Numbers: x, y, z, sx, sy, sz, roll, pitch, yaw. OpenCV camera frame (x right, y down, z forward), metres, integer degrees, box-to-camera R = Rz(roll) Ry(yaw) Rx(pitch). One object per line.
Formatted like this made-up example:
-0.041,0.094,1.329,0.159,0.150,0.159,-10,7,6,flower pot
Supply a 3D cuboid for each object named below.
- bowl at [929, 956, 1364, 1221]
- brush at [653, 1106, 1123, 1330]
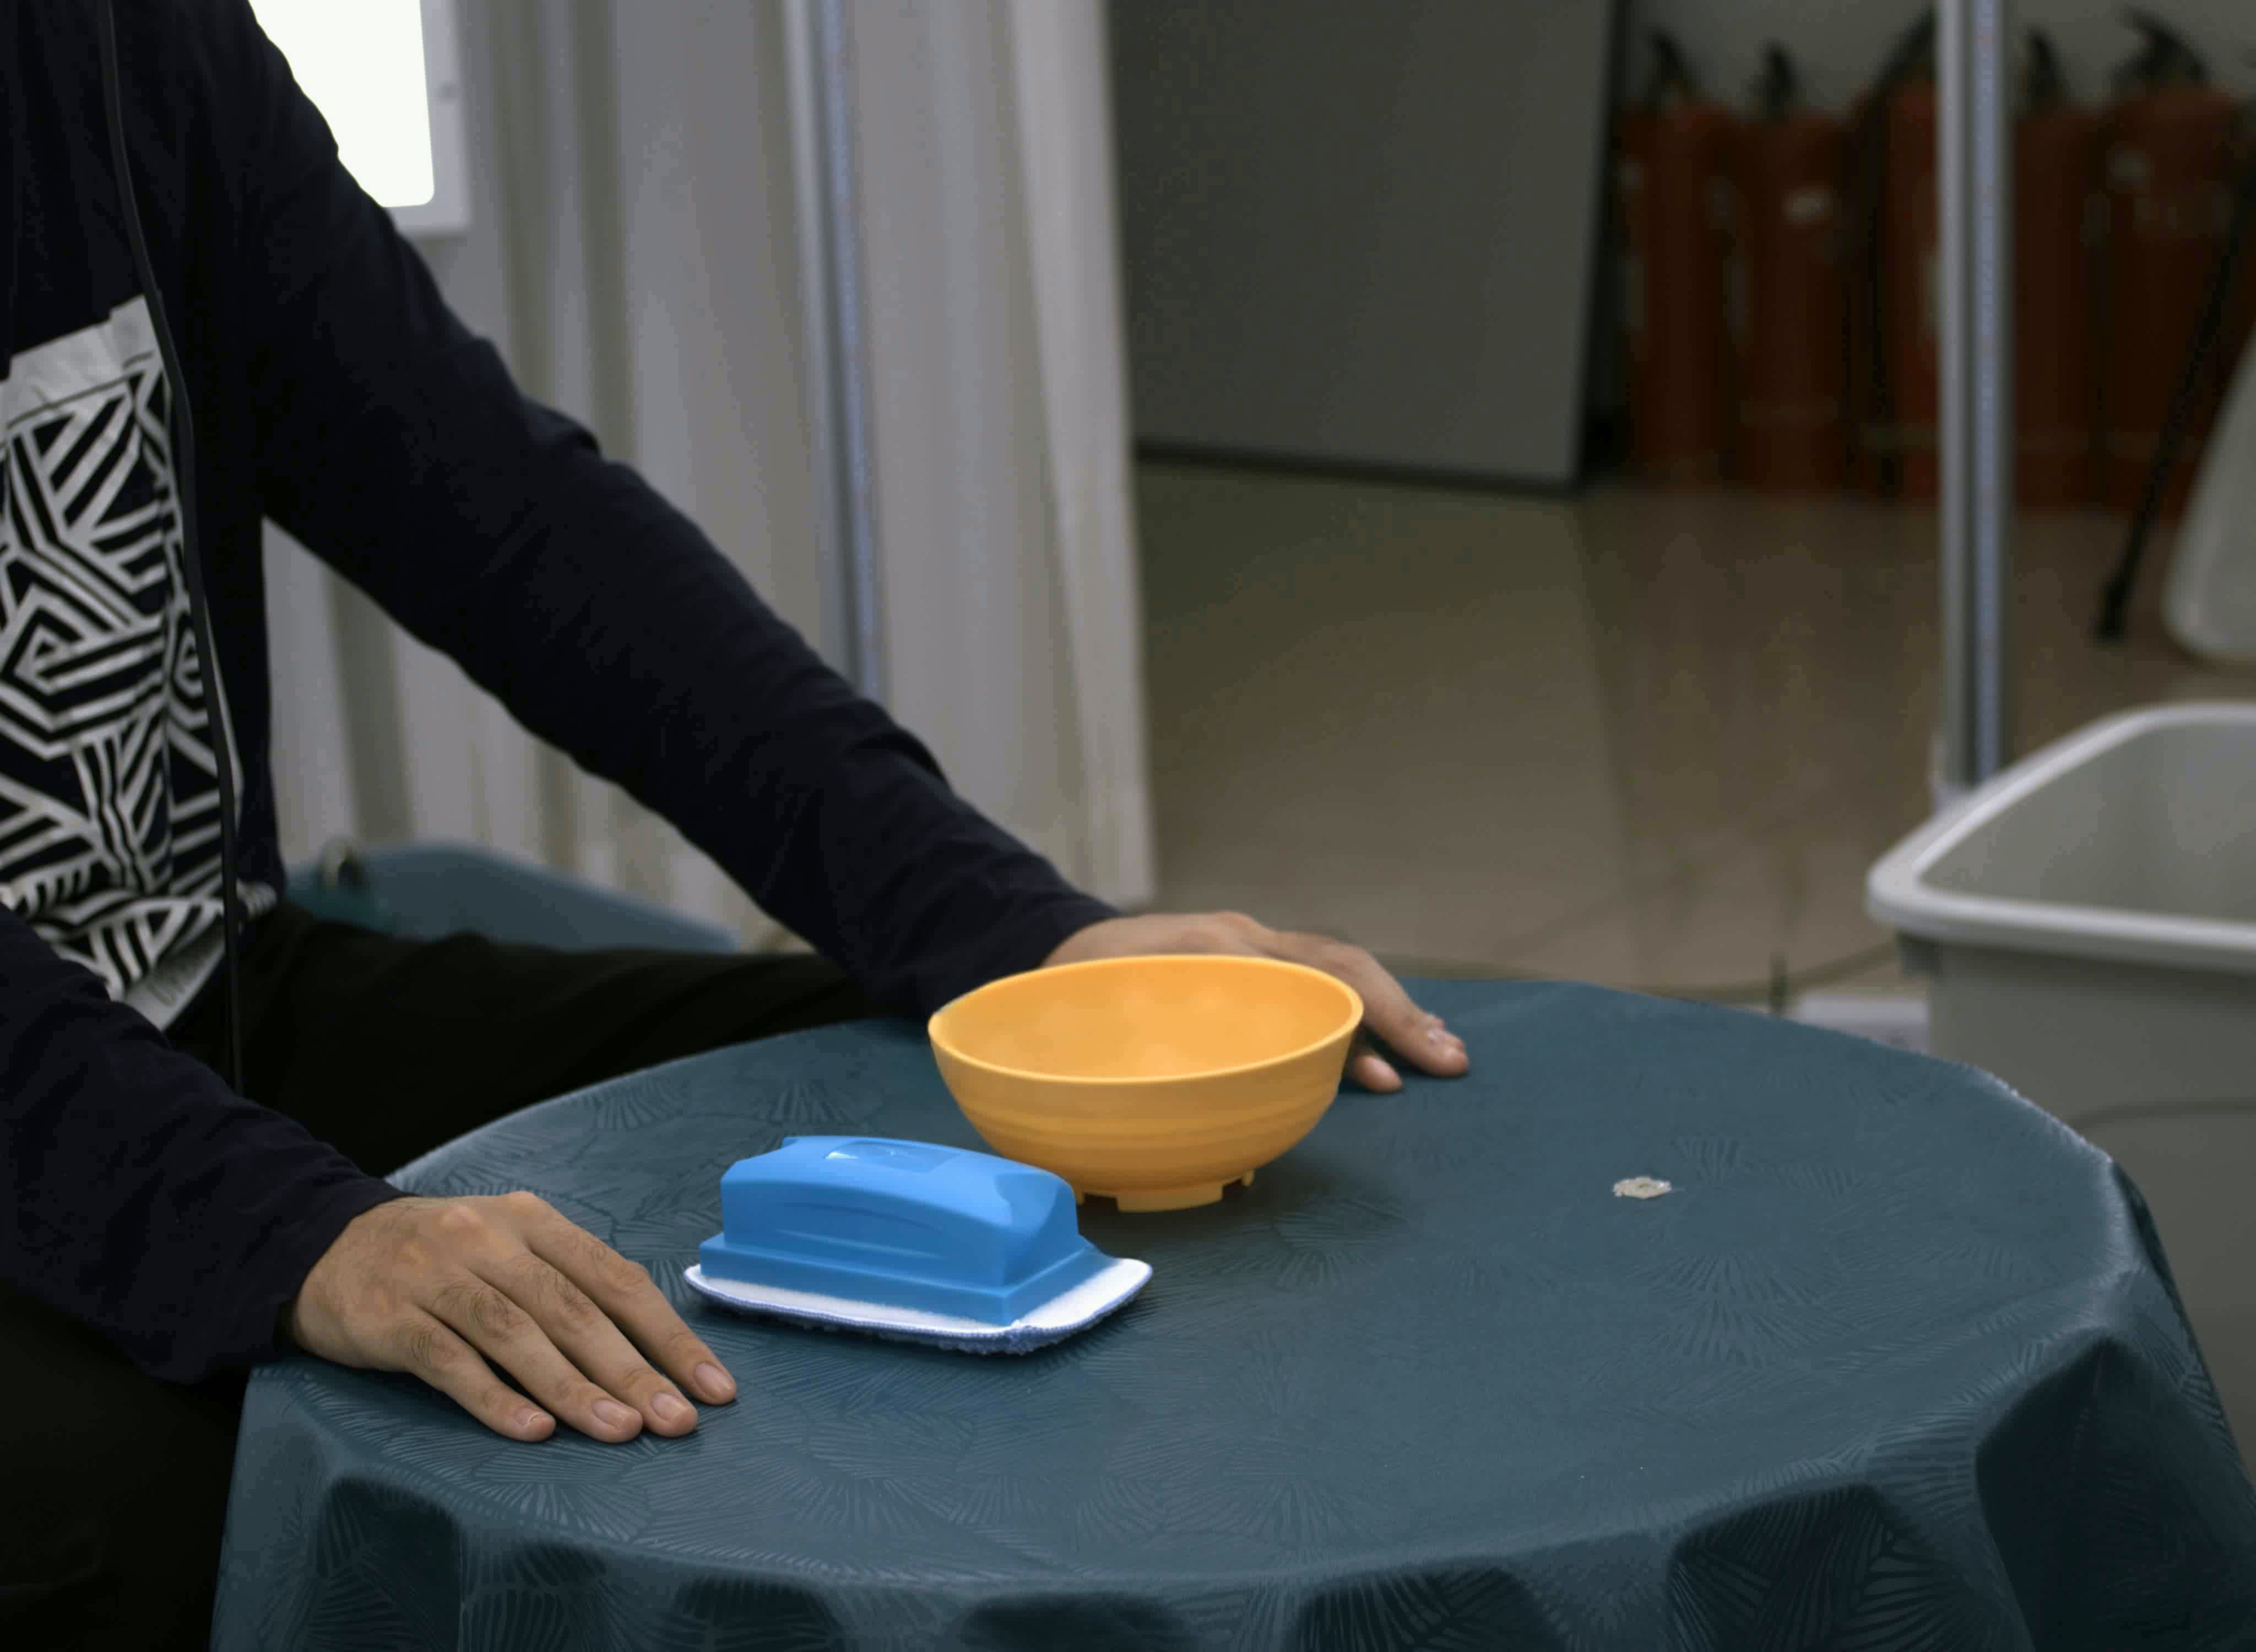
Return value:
0.007,0.091,1.776,0.143,0.061,0.145,-2,14,0,bowl
-0.074,0.120,1.673,0.145,0.056,0.082,9,15,36,brush
